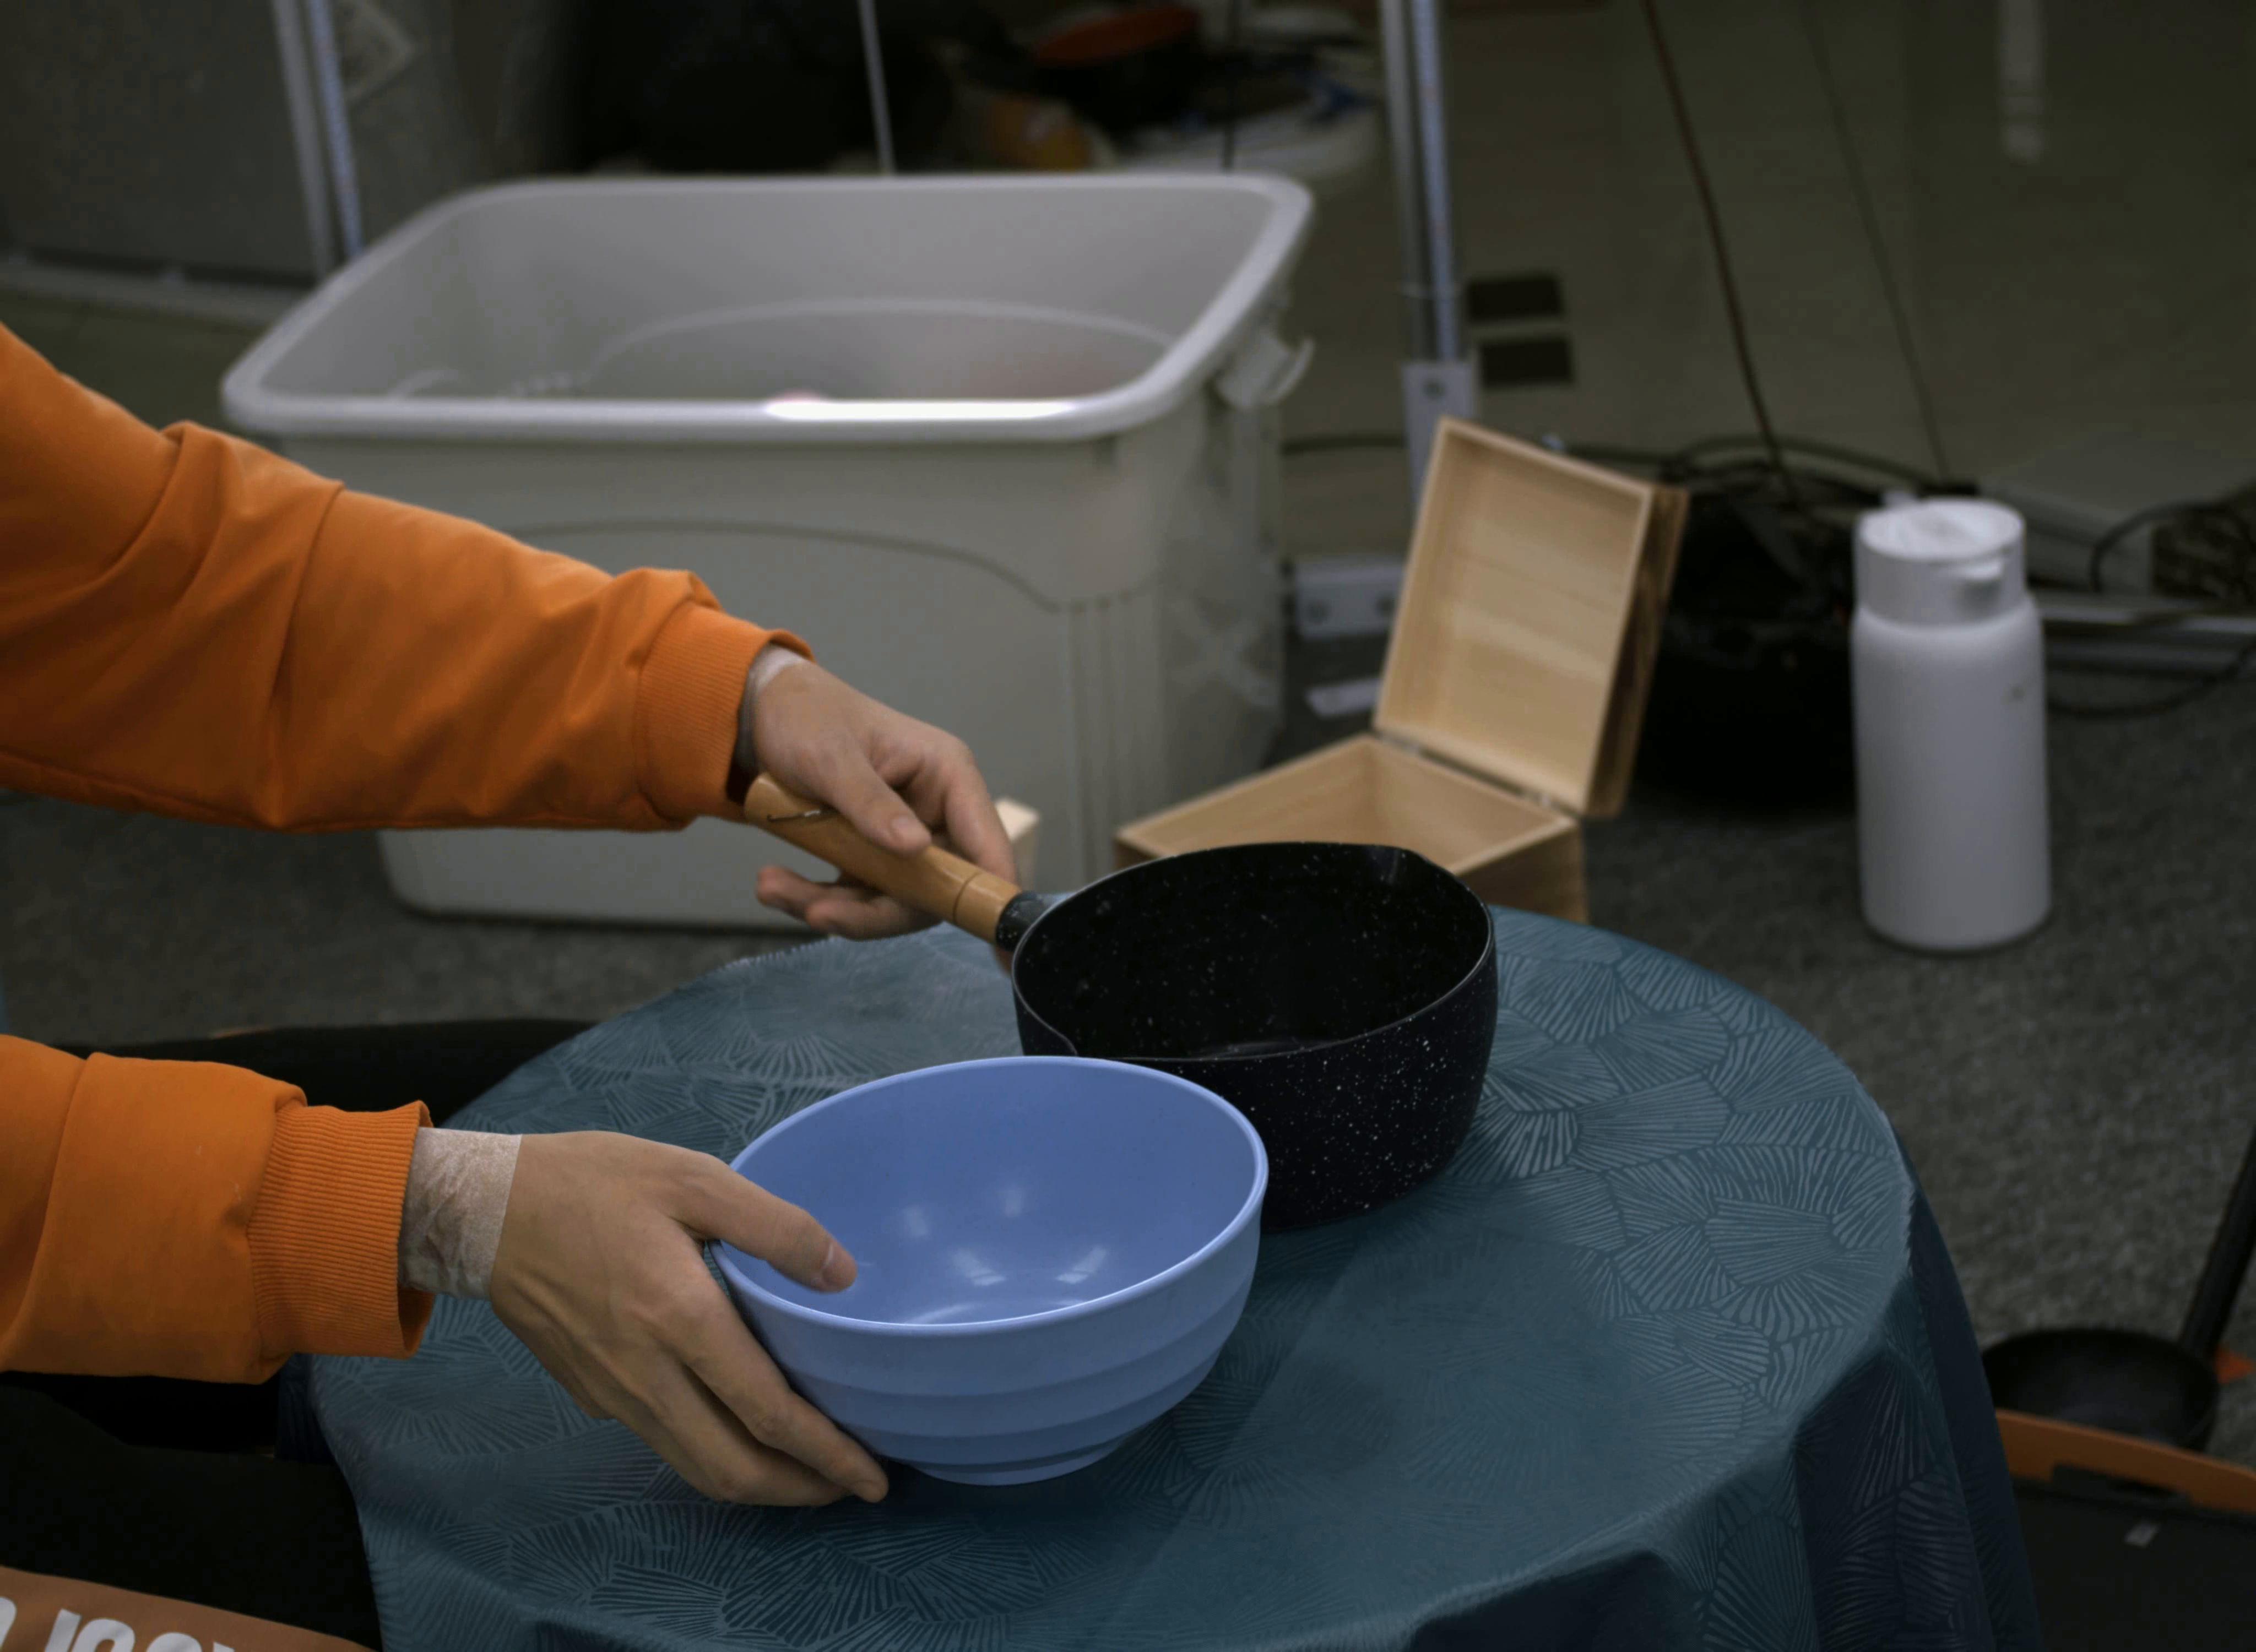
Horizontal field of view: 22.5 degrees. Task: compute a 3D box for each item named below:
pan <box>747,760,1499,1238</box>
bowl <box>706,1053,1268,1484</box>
[{"bbox_3d":[-0.013,0.058,2.195,0.340,0.110,0.205,14,34,35],"label":"pan"},{"bbox_3d":[-0.045,0.166,1.985,0.196,0.097,0.193,-5,26,3],"label":"bowl"}]
